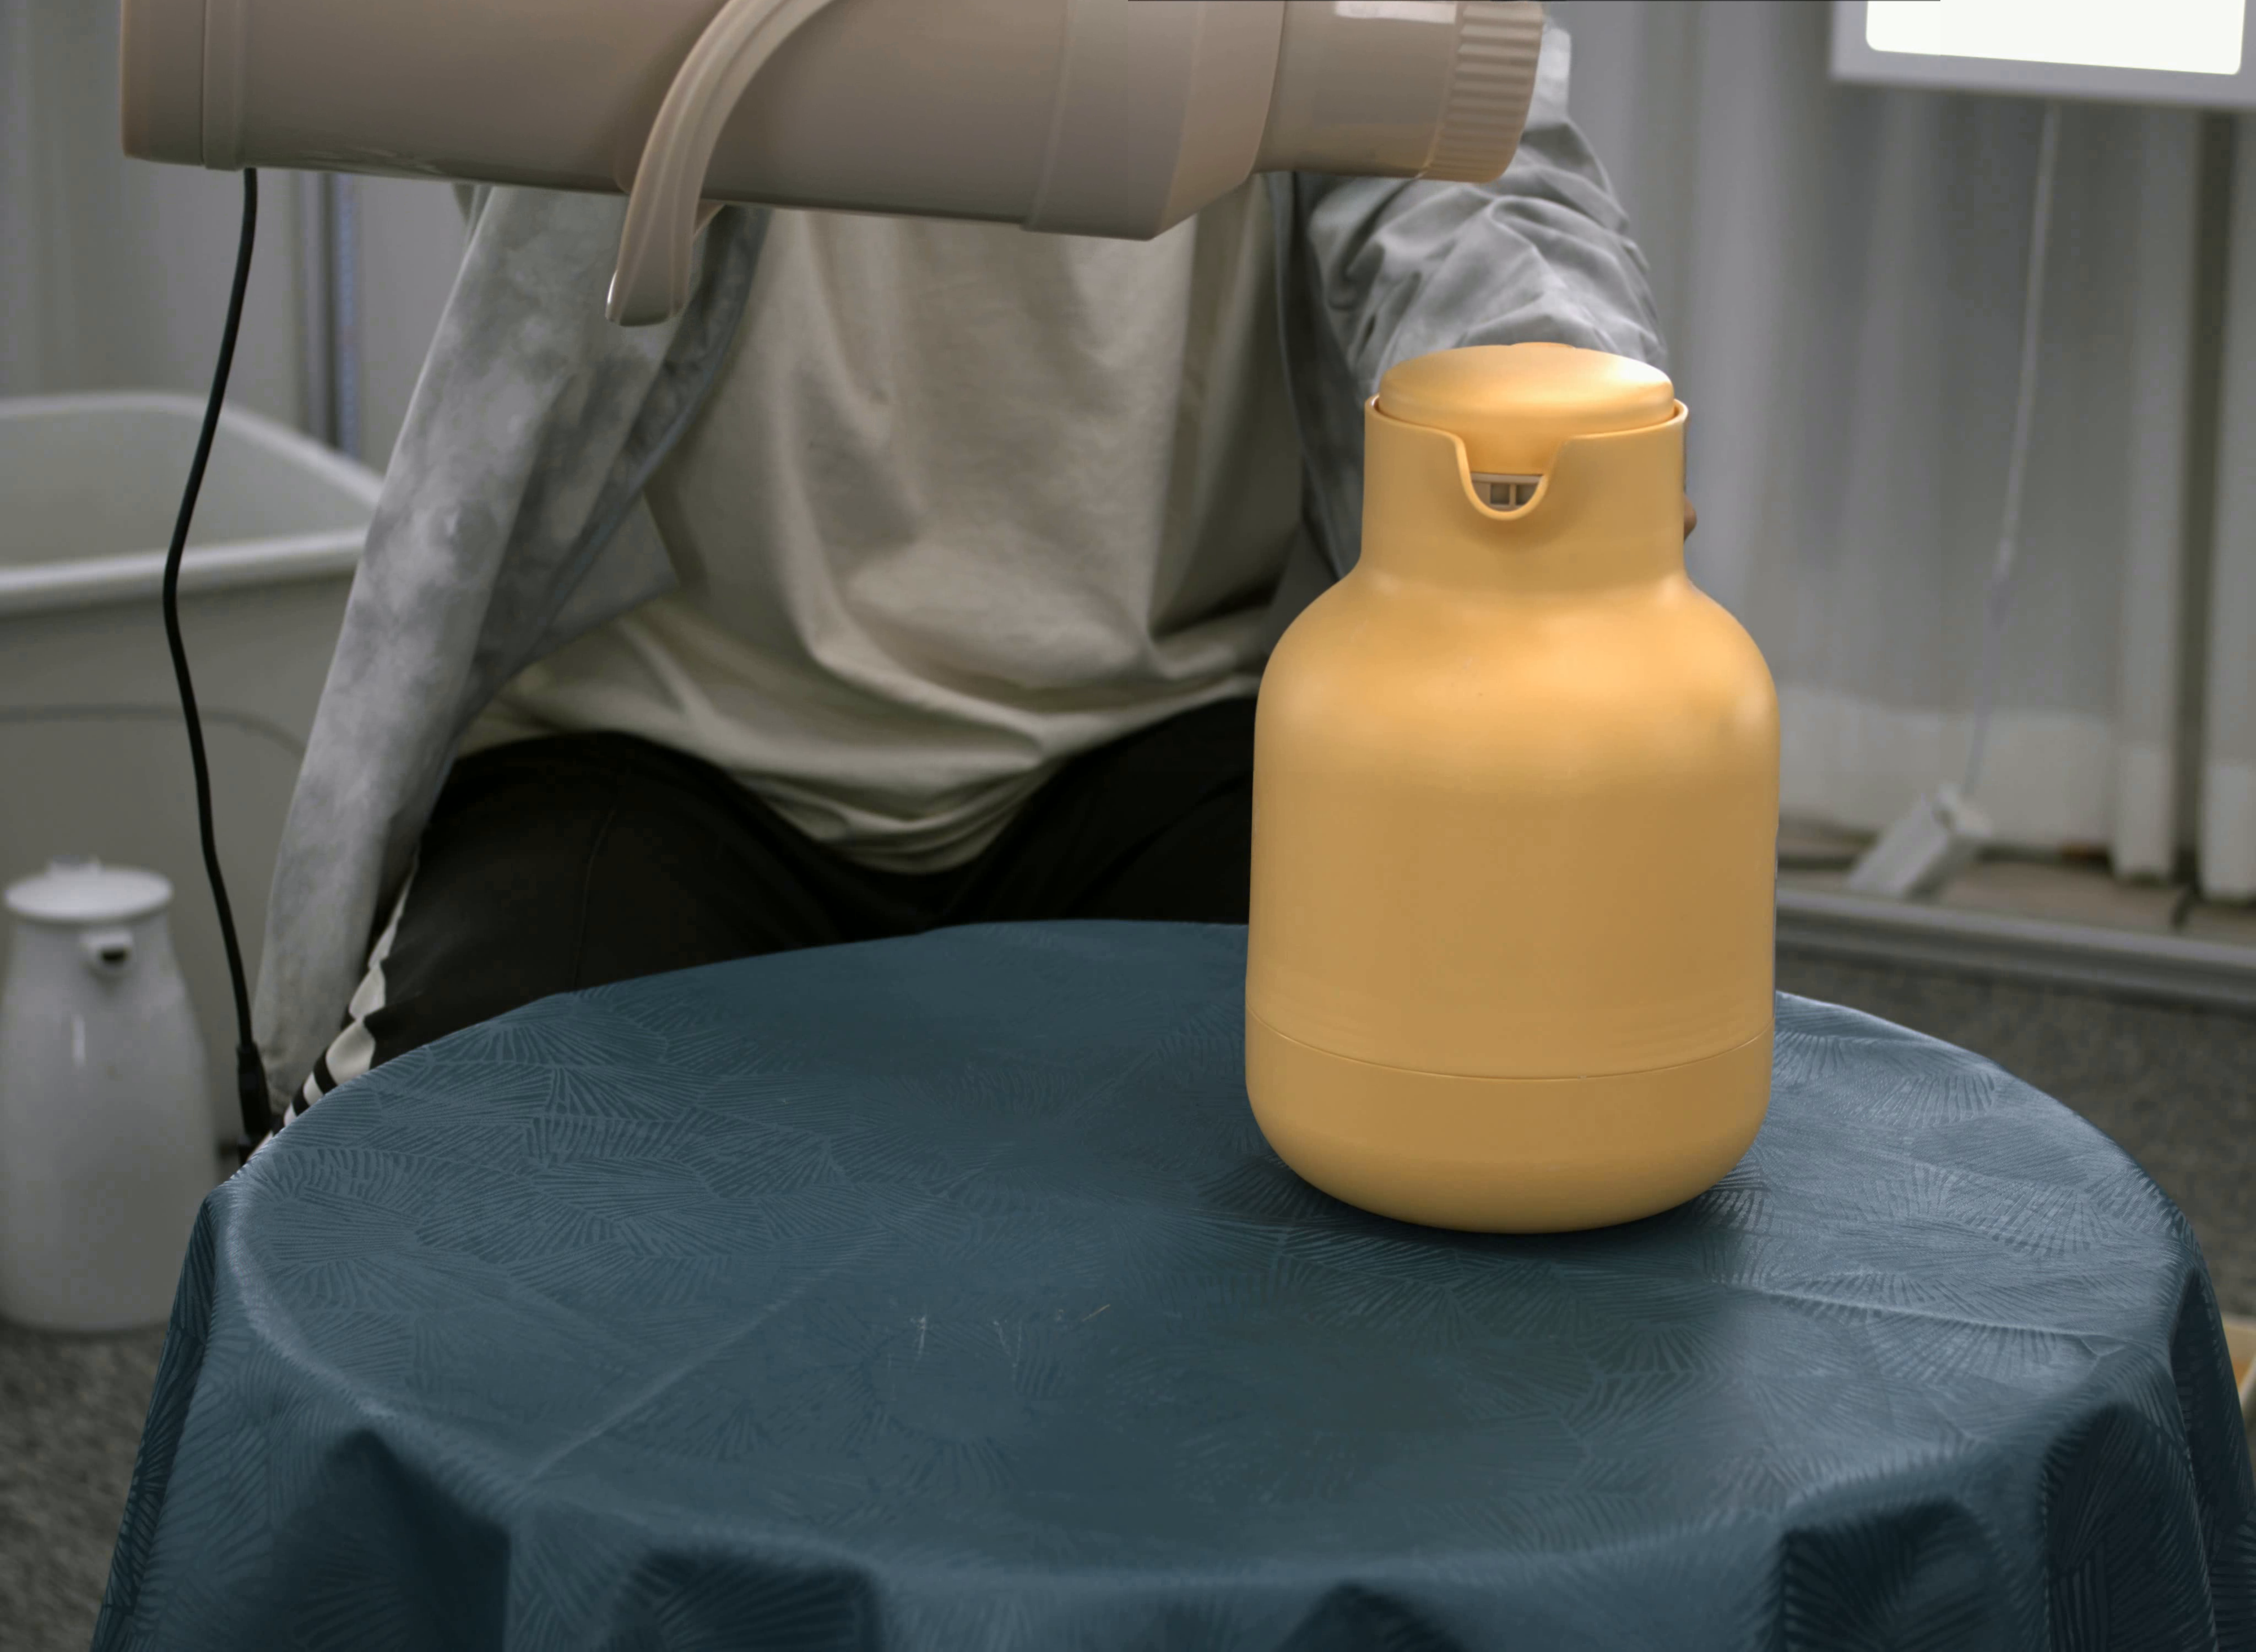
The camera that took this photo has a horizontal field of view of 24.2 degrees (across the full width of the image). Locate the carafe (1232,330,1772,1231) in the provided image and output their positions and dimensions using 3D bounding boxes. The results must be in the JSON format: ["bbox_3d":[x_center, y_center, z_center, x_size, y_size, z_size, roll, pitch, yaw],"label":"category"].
[{"bbox_3d":[0.121,-0.022,1.624,0.162,0.262,0.202,6,18,9],"label":"carafe"}]

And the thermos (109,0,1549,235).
[{"bbox_3d":[-0.084,-0.270,1.518,0.406,0.207,0.175,4,-10,-7],"label":"thermos"}]
